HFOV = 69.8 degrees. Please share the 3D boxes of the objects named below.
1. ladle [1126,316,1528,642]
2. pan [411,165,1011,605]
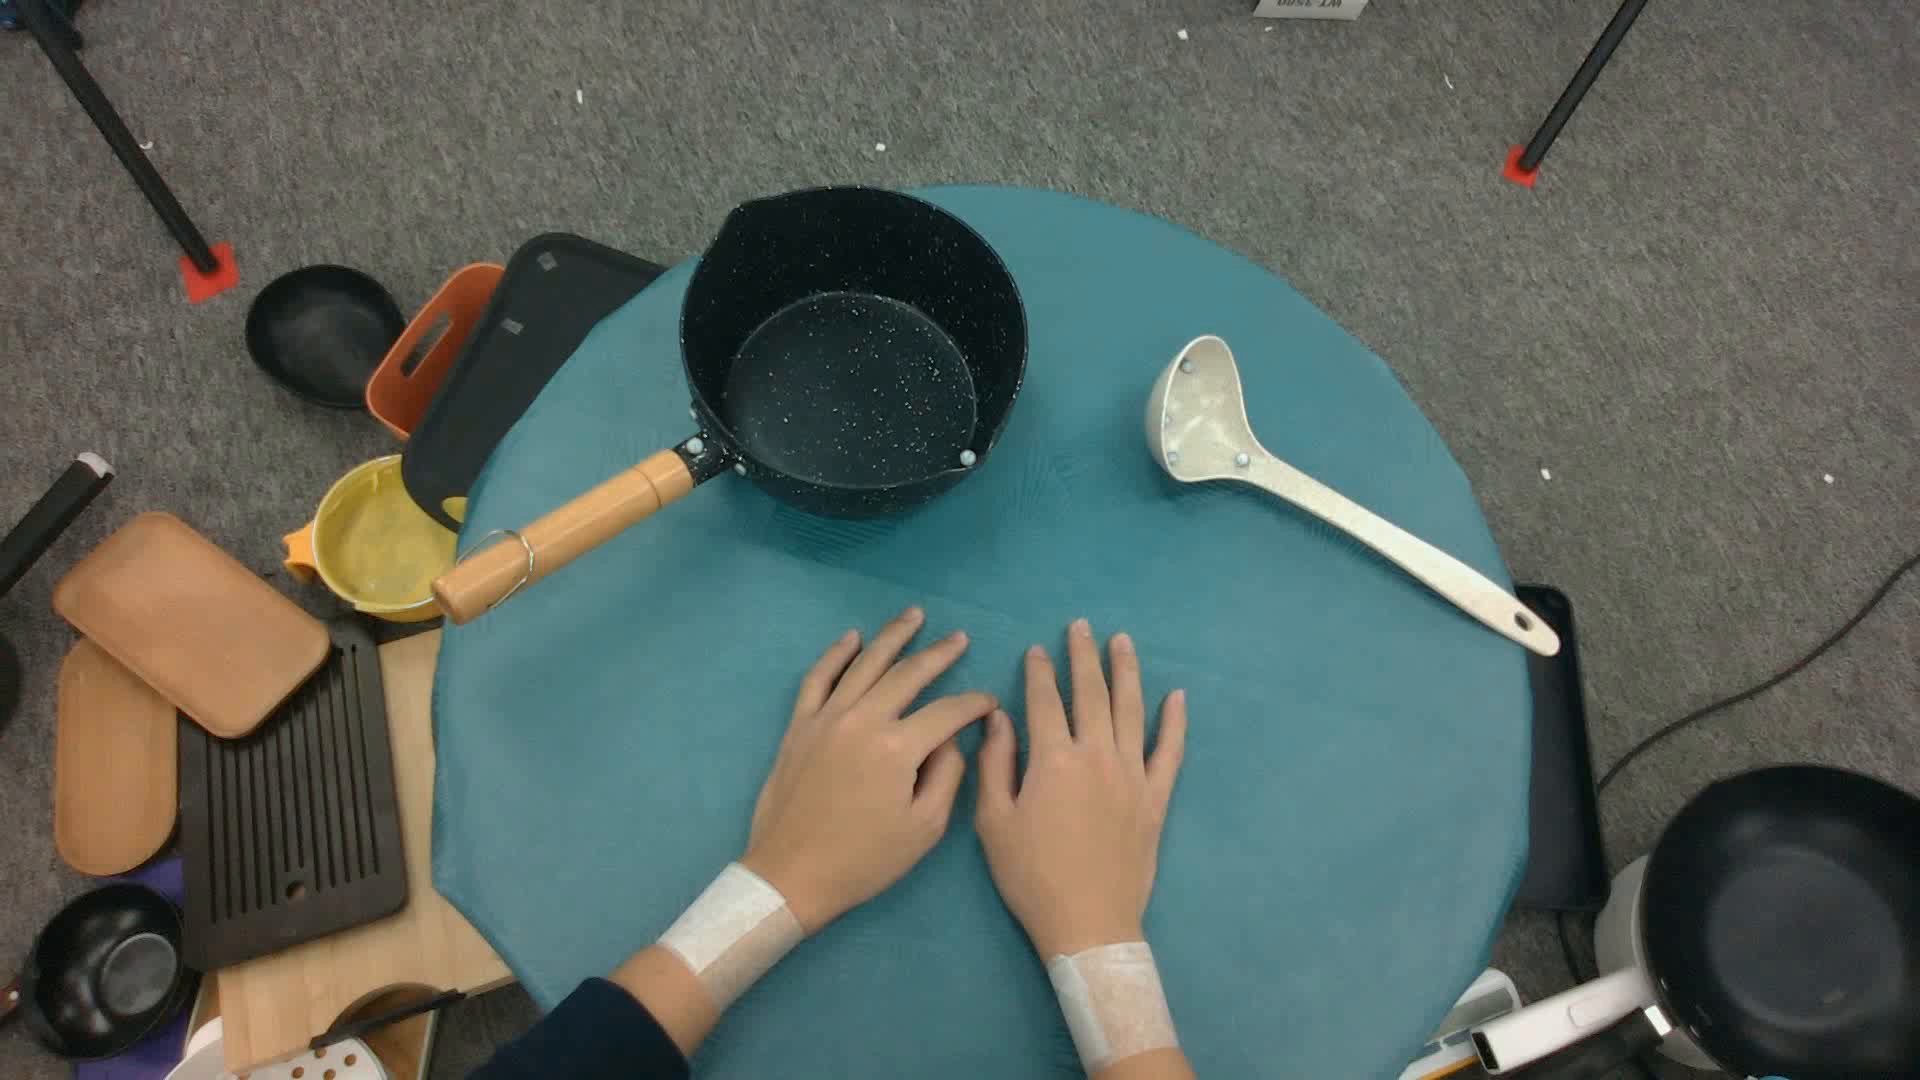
[{"bbox_3d":[0.218,-0.029,0.780,0.275,0.069,0.090,31,59,4],"label":"ladle"},{"bbox_3d":[-0.125,-0.060,0.724,0.344,0.108,0.207,-40,79,-21],"label":"pan"}]
